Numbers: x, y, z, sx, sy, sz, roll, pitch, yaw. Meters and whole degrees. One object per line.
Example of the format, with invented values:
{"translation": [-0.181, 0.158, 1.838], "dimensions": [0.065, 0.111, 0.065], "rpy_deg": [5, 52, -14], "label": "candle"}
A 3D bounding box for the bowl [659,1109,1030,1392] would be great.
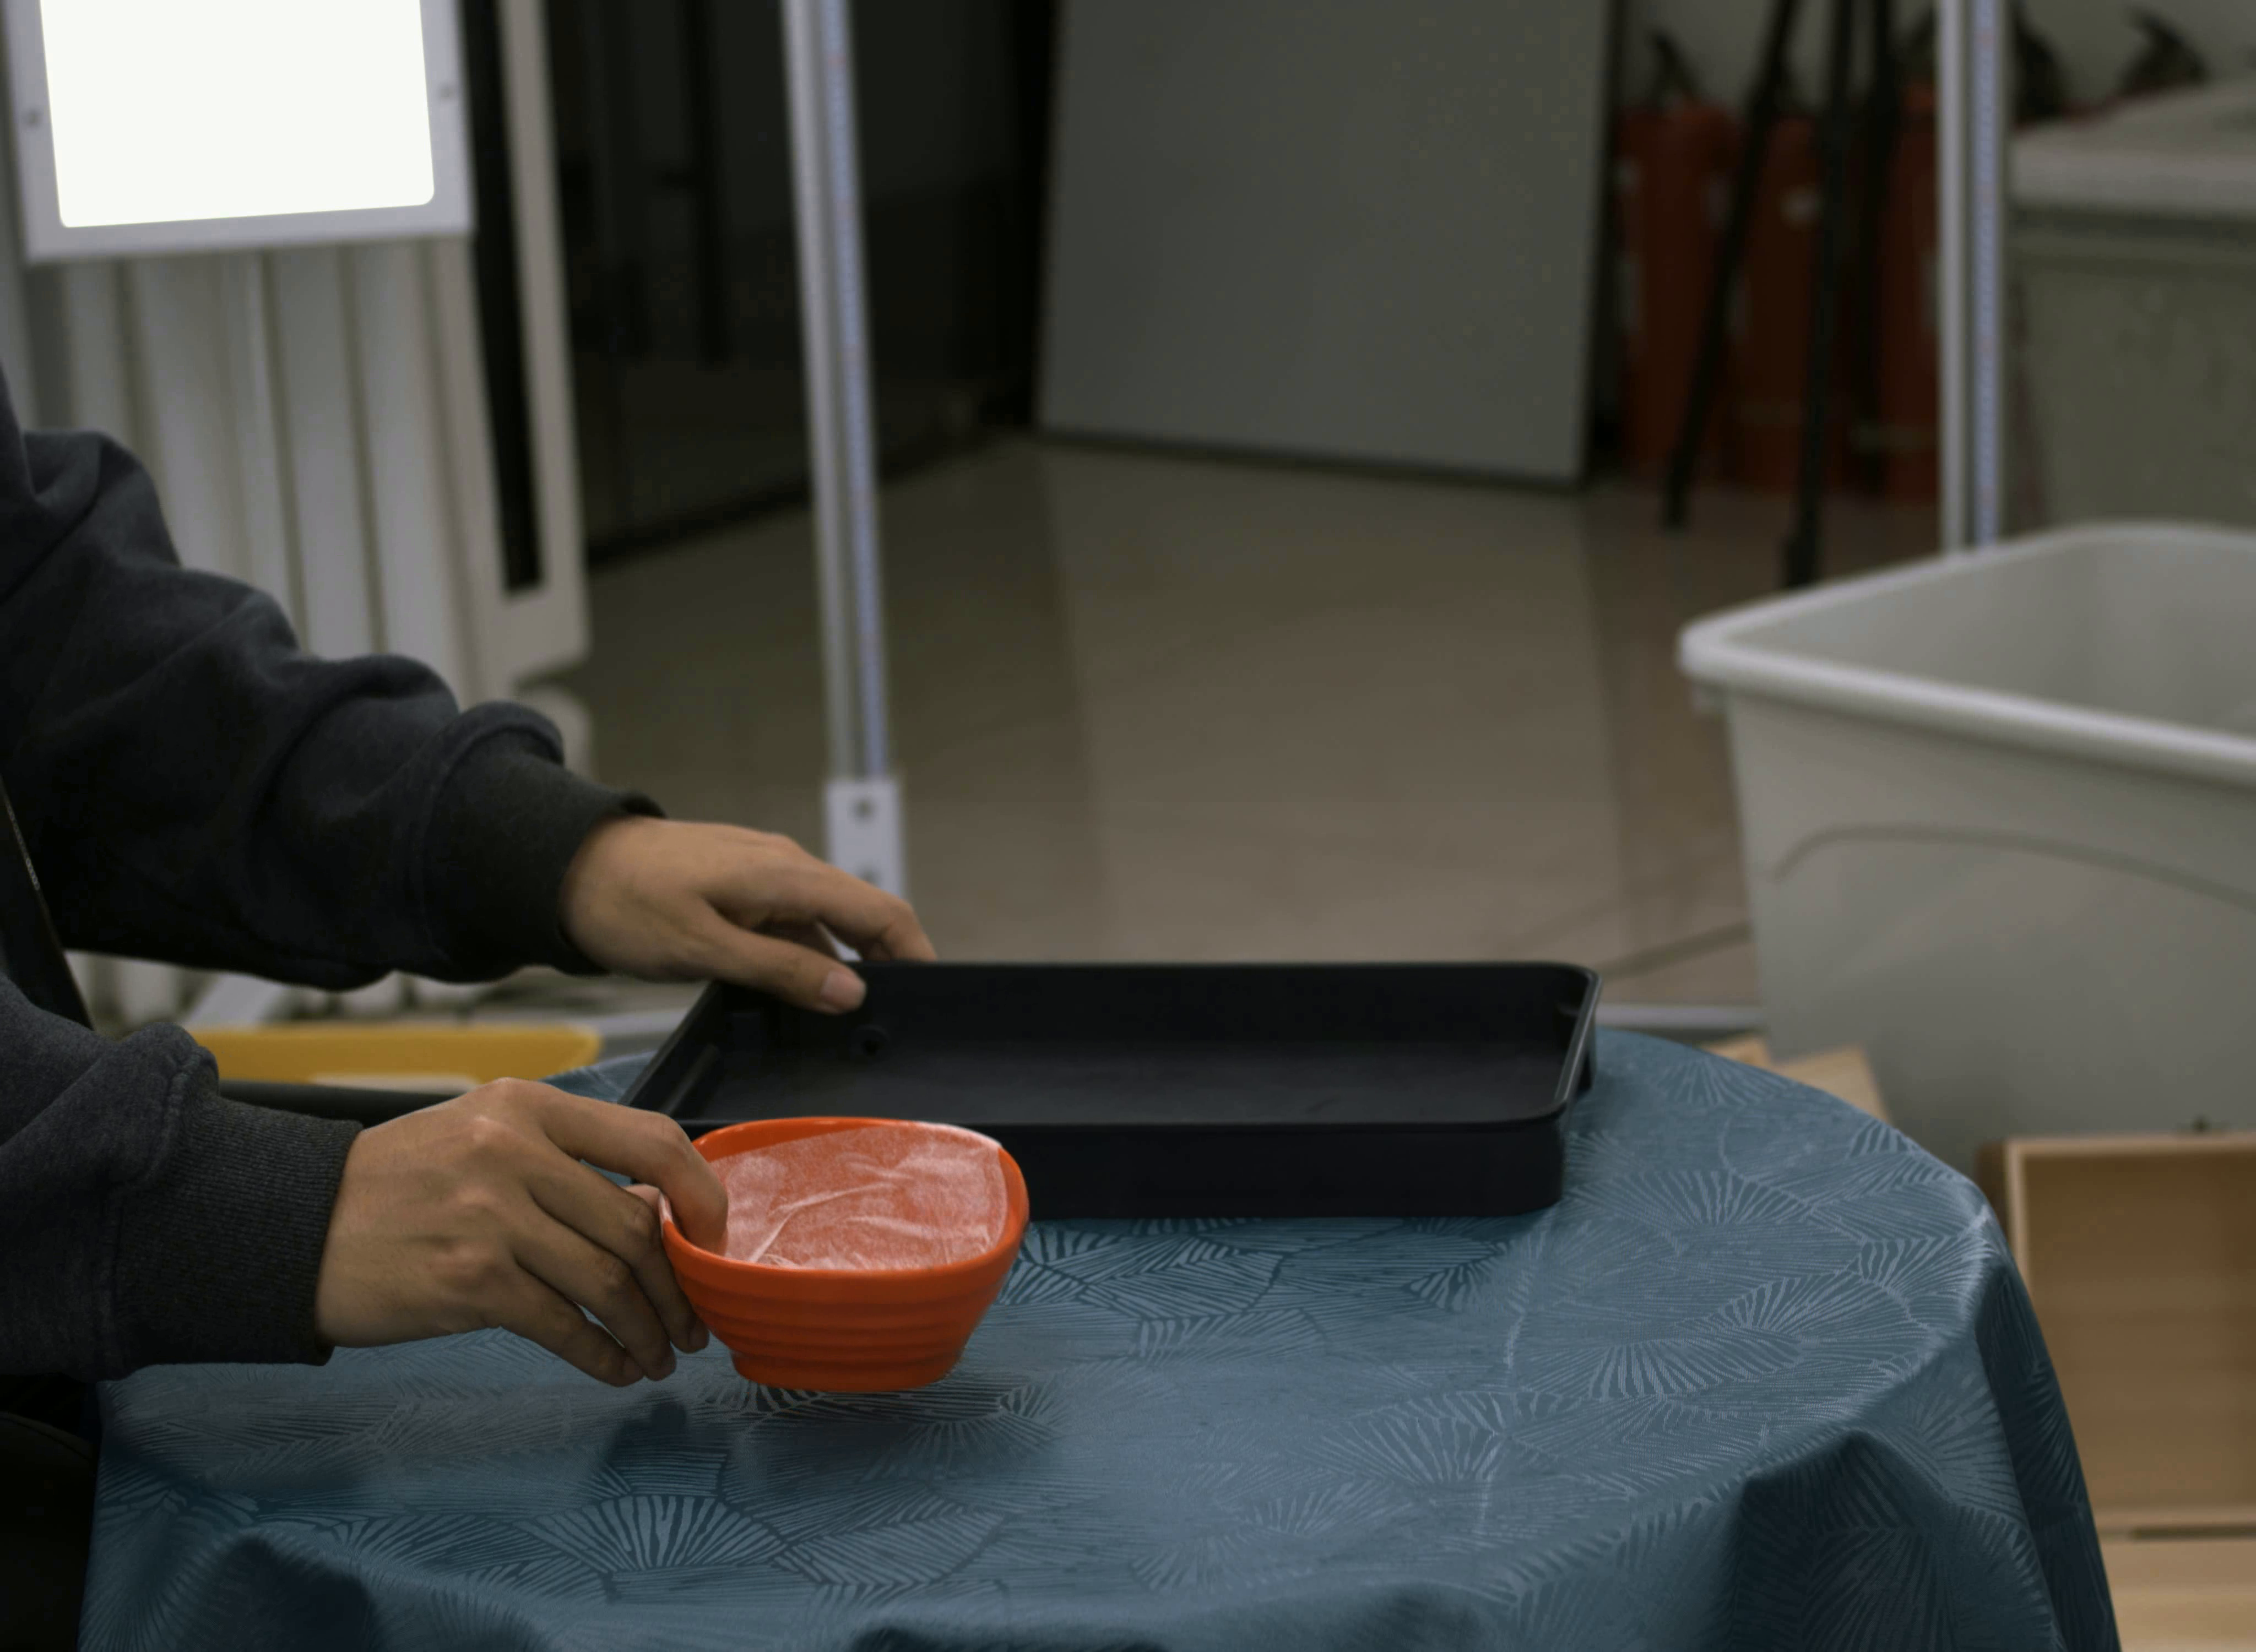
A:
{"translation": [-0.084, 0.128, 1.589], "dimensions": [0.117, 0.052, 0.119], "rpy_deg": [3, 21, -2], "label": "bowl"}

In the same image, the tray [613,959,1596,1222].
{"translation": [-0.003, 0.087, 1.823], "dimensions": [0.316, 0.037, 0.183], "rpy_deg": [0, 14, 11], "label": "tray"}
